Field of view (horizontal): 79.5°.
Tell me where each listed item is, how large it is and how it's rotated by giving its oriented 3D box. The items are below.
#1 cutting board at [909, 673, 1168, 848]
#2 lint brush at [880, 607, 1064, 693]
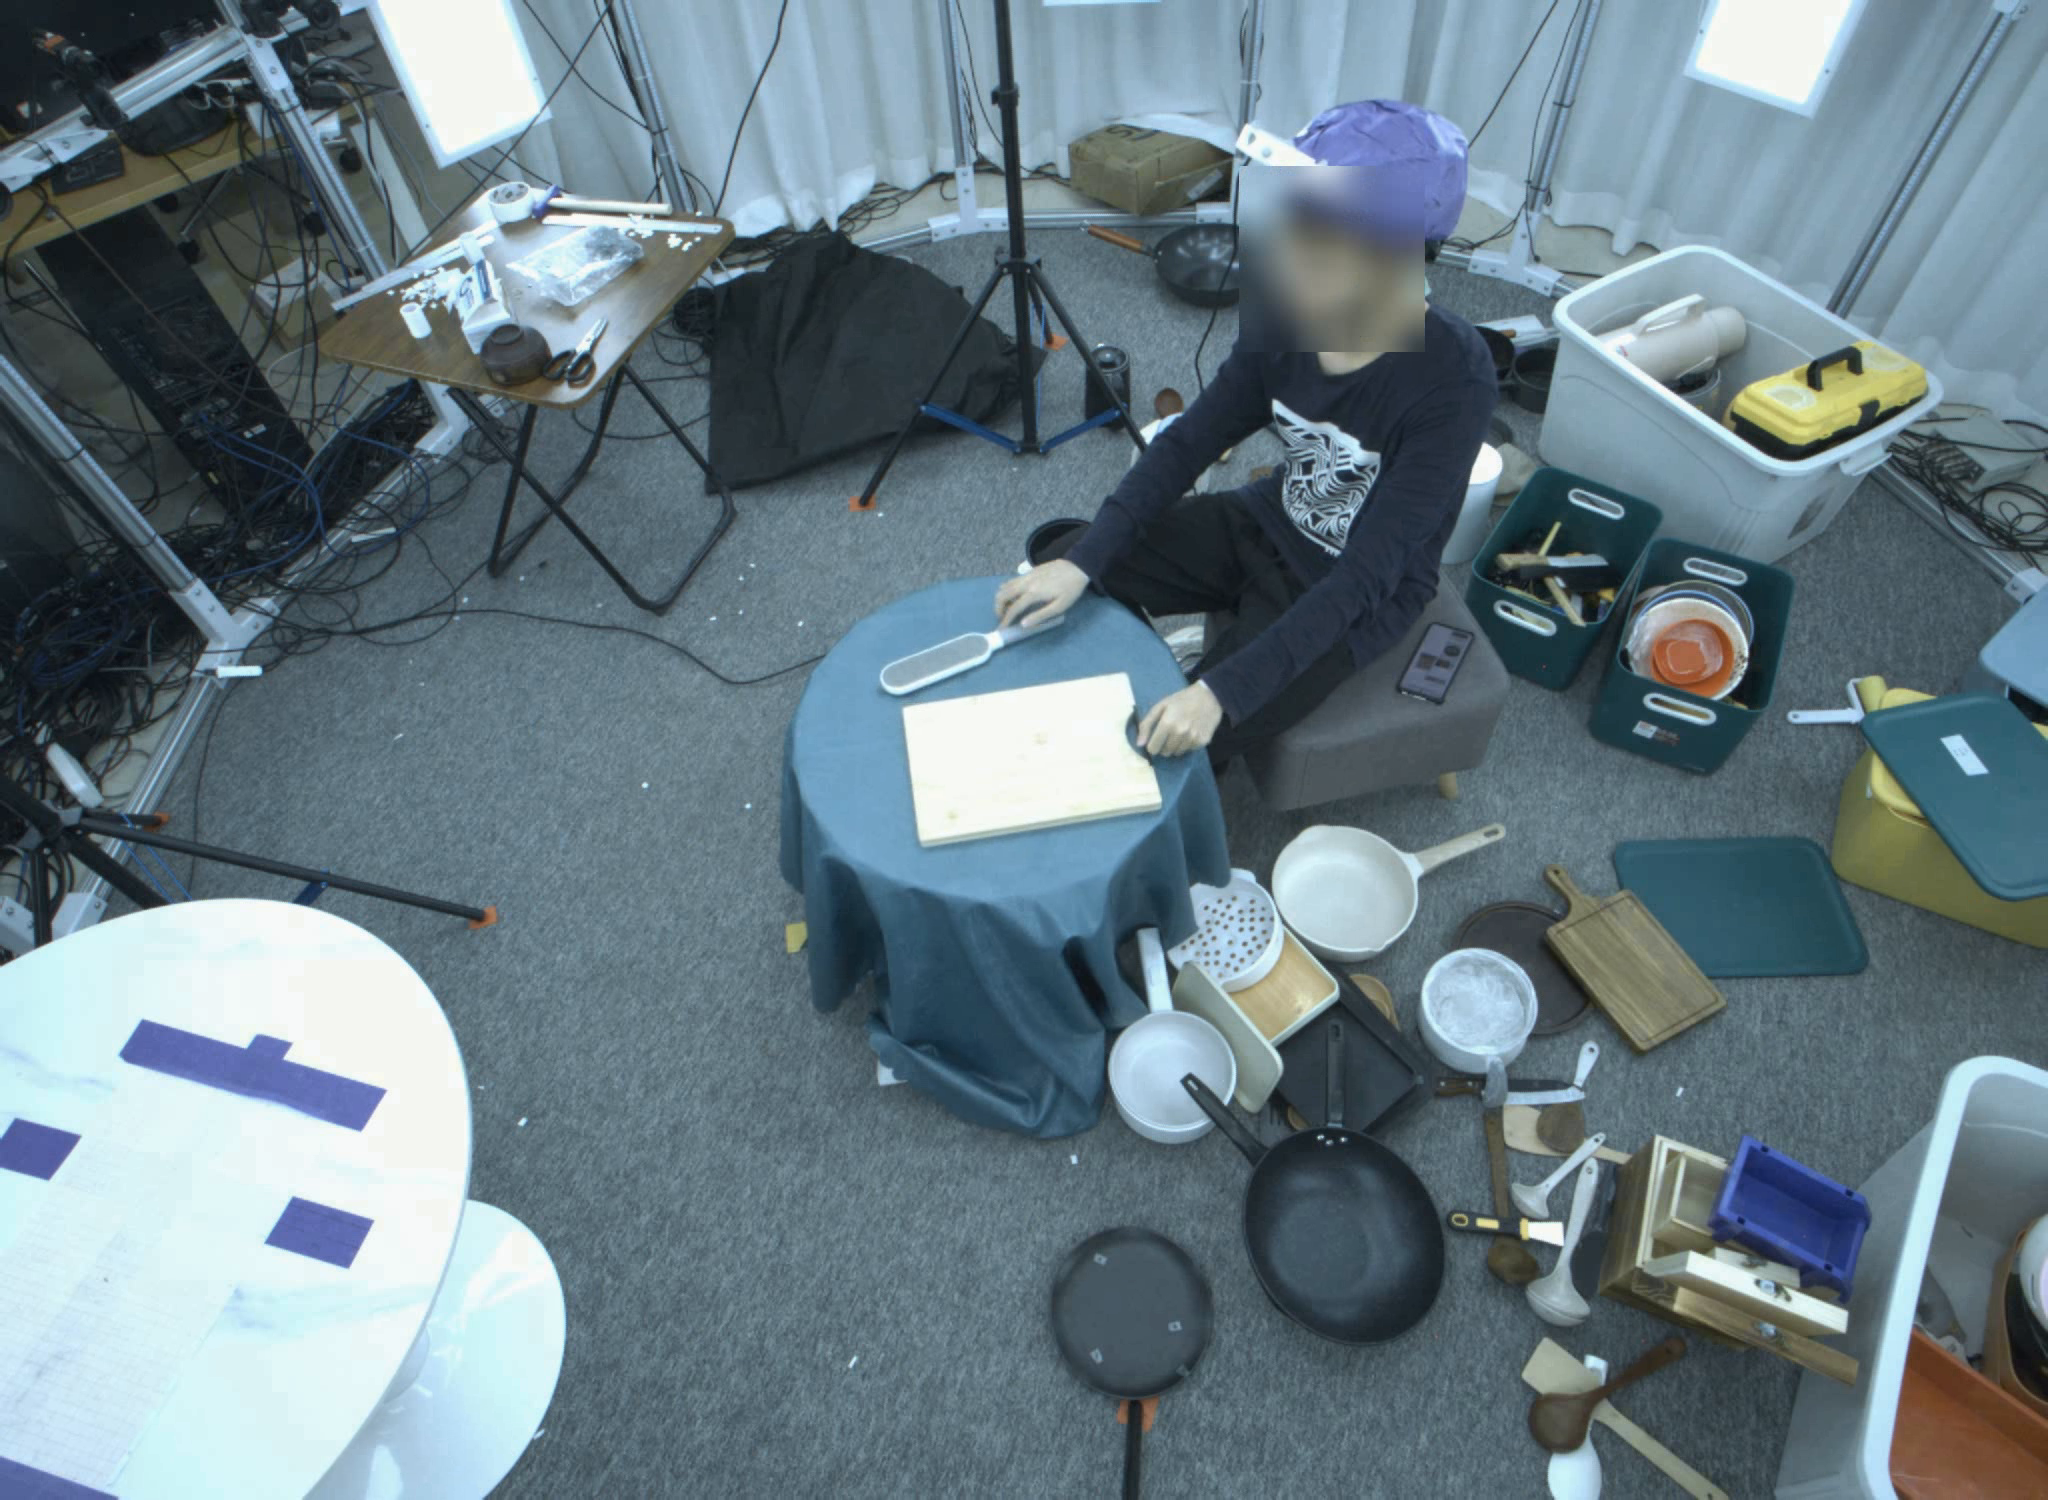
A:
[{"bbox_3d":[0.012,0.009,1.778,0.350,0.024,0.247,-9,55,-5],"label":"cutting board"},{"bbox_3d":[-0.077,-0.157,1.893,0.311,0.021,0.059,-23,51,-14],"label":"lint brush"}]
